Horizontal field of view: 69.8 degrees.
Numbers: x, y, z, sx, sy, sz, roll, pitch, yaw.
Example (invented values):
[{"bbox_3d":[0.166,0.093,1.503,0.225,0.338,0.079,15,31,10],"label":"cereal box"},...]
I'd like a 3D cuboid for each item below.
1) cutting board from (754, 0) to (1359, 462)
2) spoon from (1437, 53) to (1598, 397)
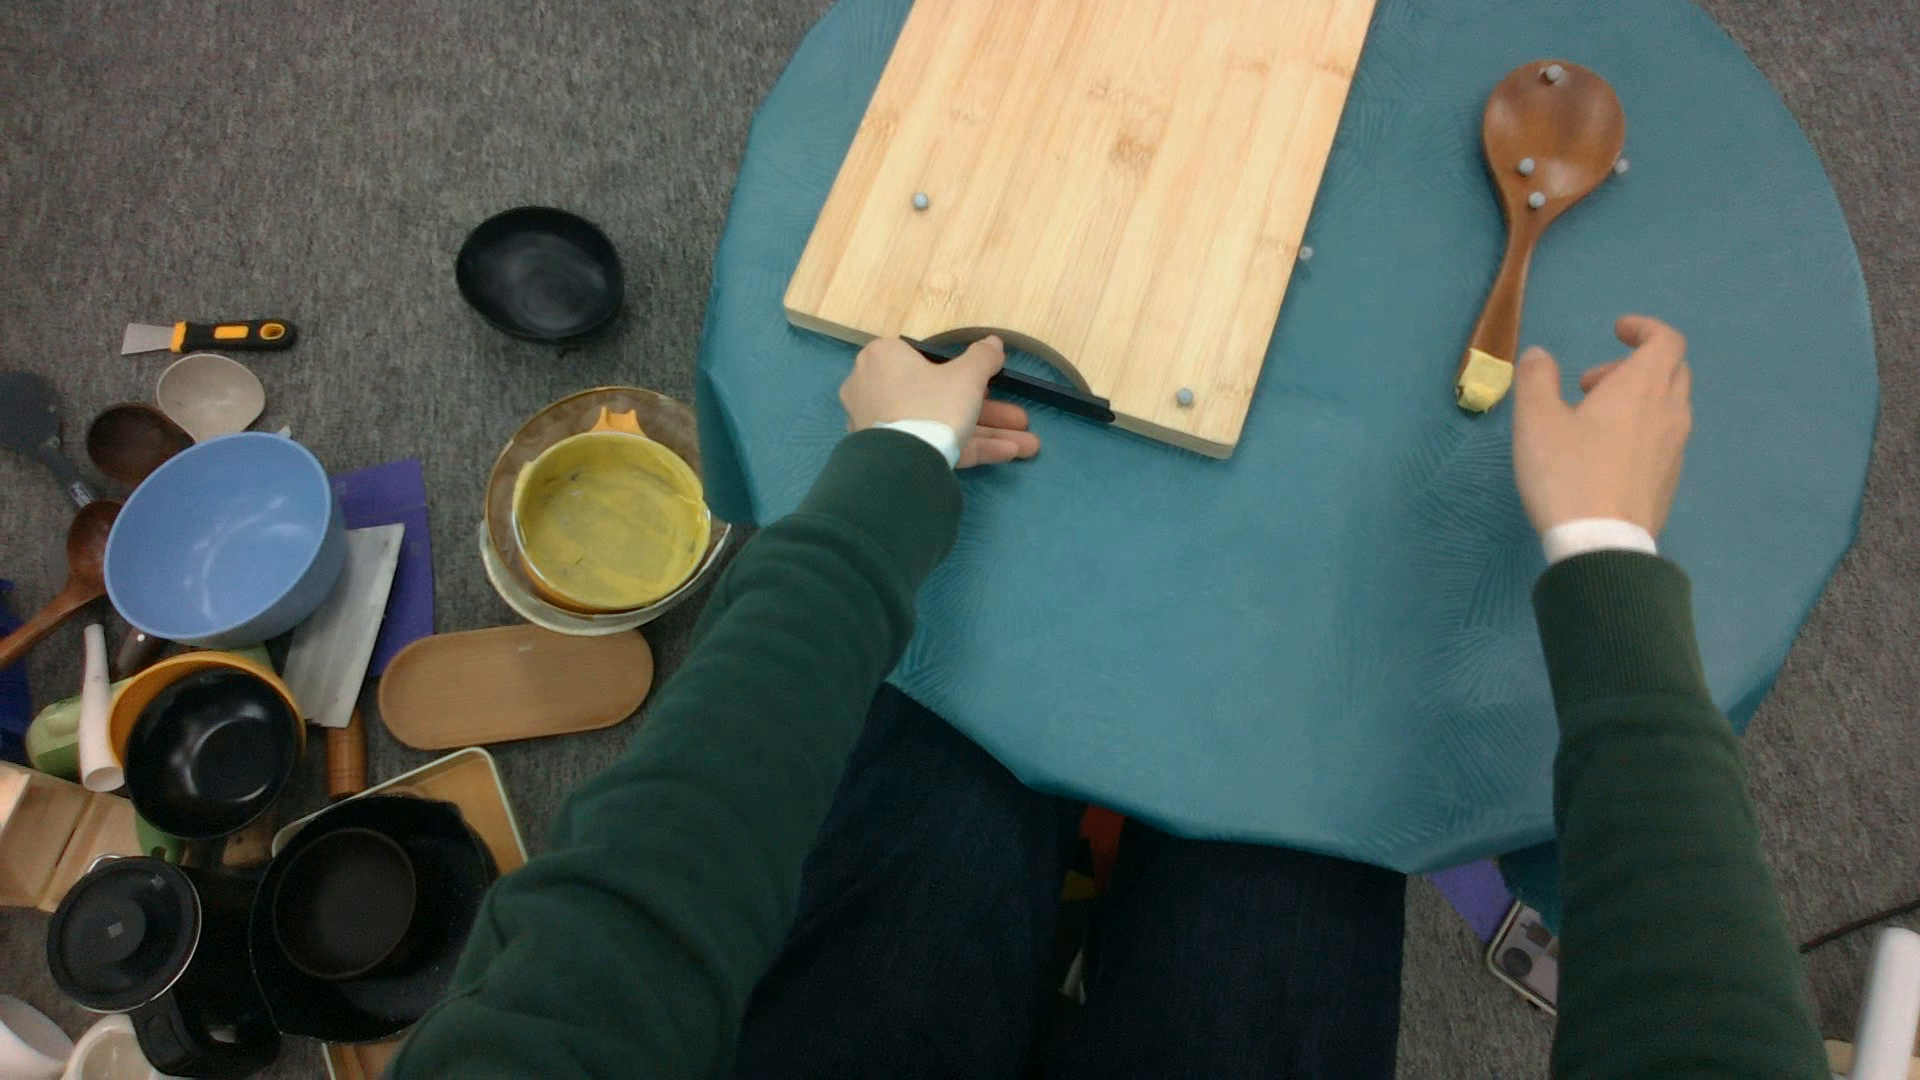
[{"bbox_3d":[0.067,-0.229,0.746,0.250,0.023,0.350,17,70,7],"label":"cutting board"},{"bbox_3d":[0.285,-0.168,0.723,0.075,0.017,0.216,19,70,5],"label":"spoon"}]
